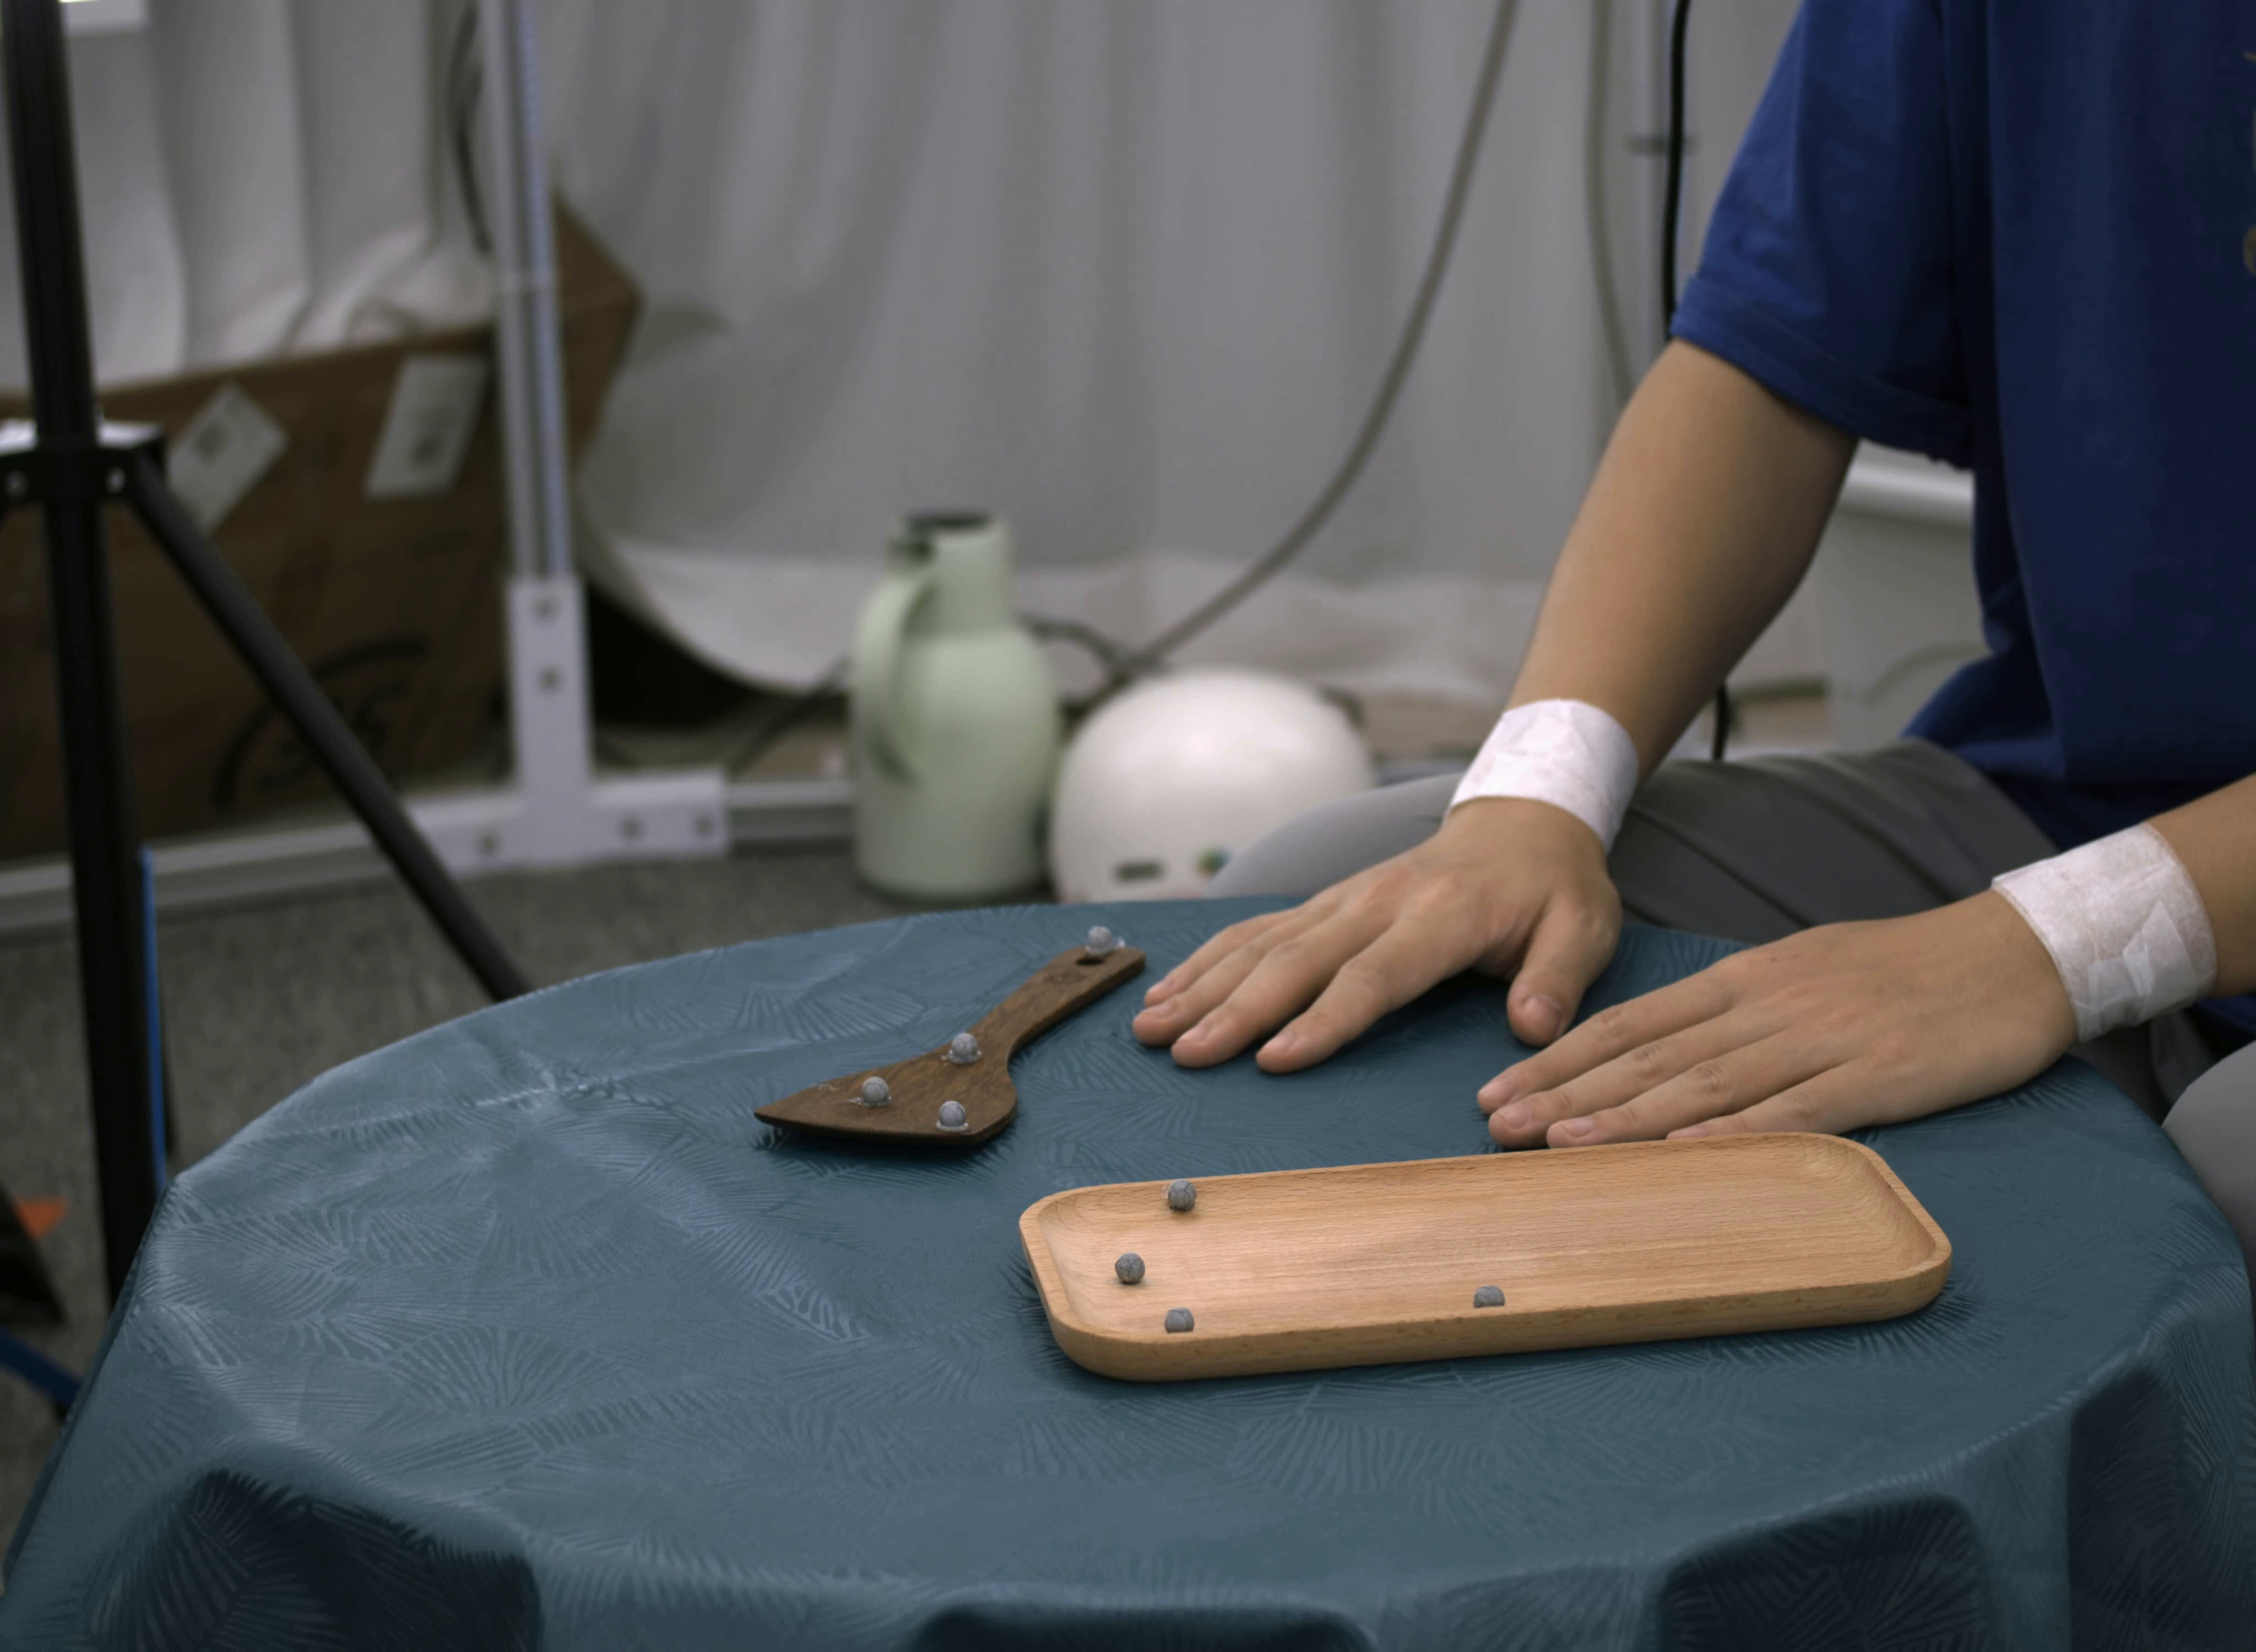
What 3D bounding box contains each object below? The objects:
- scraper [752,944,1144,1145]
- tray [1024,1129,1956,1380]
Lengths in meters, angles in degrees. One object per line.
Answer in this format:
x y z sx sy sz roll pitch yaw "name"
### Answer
-0.044 0.068 1.689 0.077 0.011 0.208 6 17 22 "scraper"
0.099 0.119 1.473 0.248 0.023 0.132 -3 18 -4 "tray"
